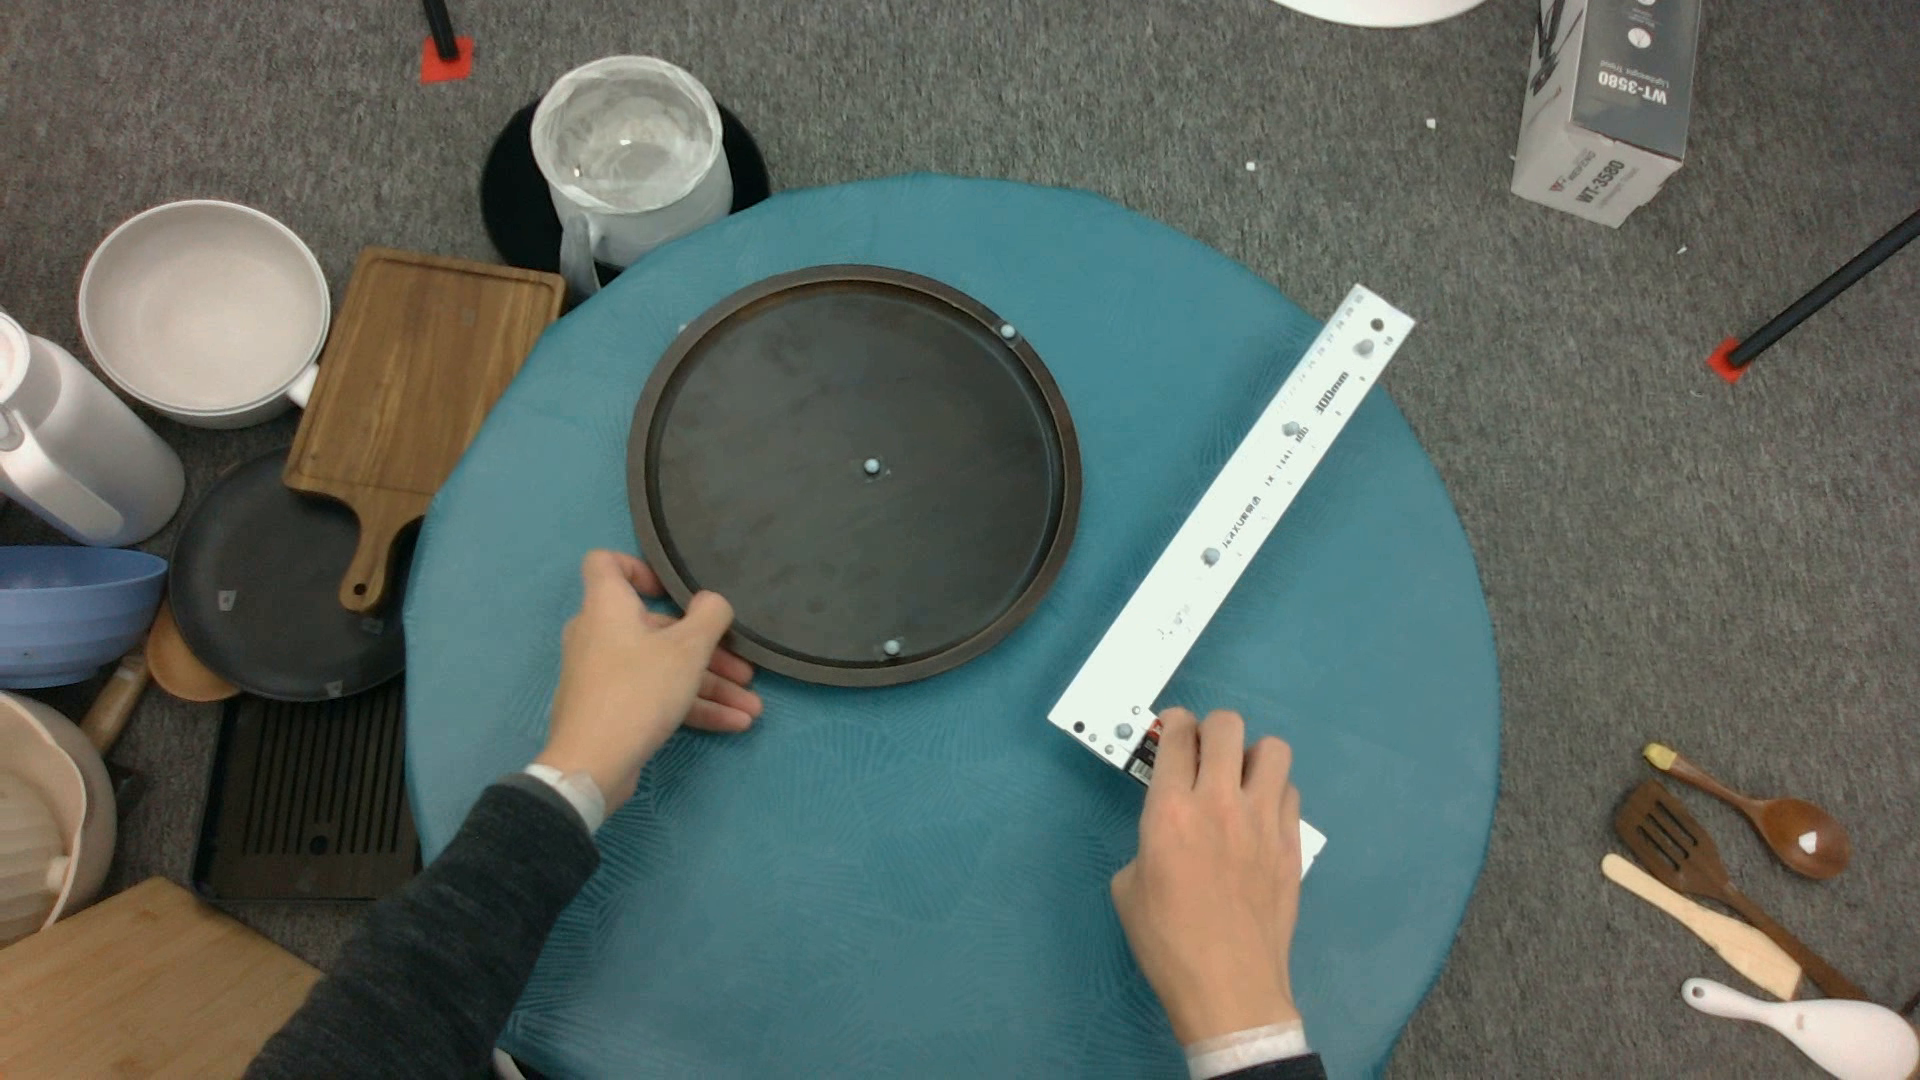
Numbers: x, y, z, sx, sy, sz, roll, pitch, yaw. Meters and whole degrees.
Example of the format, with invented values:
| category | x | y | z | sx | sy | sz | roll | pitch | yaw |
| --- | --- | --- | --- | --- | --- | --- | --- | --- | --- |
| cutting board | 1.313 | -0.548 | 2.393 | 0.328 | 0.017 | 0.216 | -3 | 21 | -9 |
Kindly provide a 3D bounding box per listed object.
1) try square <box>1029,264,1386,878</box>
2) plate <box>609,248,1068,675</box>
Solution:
| category | x | y | z | sx | sy | sz | roll | pitch | yaw |
| --- | --- | --- | --- | --- | --- | --- | --- | --- | --- |
| try square | 0.183 | 0.008 | 0.743 | 0.152 | 0.016 | 0.314 | 36 | 75 | 2 |
| plate | -0.066 | -0.047 | 0.767 | 0.255 | 0.029 | 0.255 | 3 | 69 | -7 |
